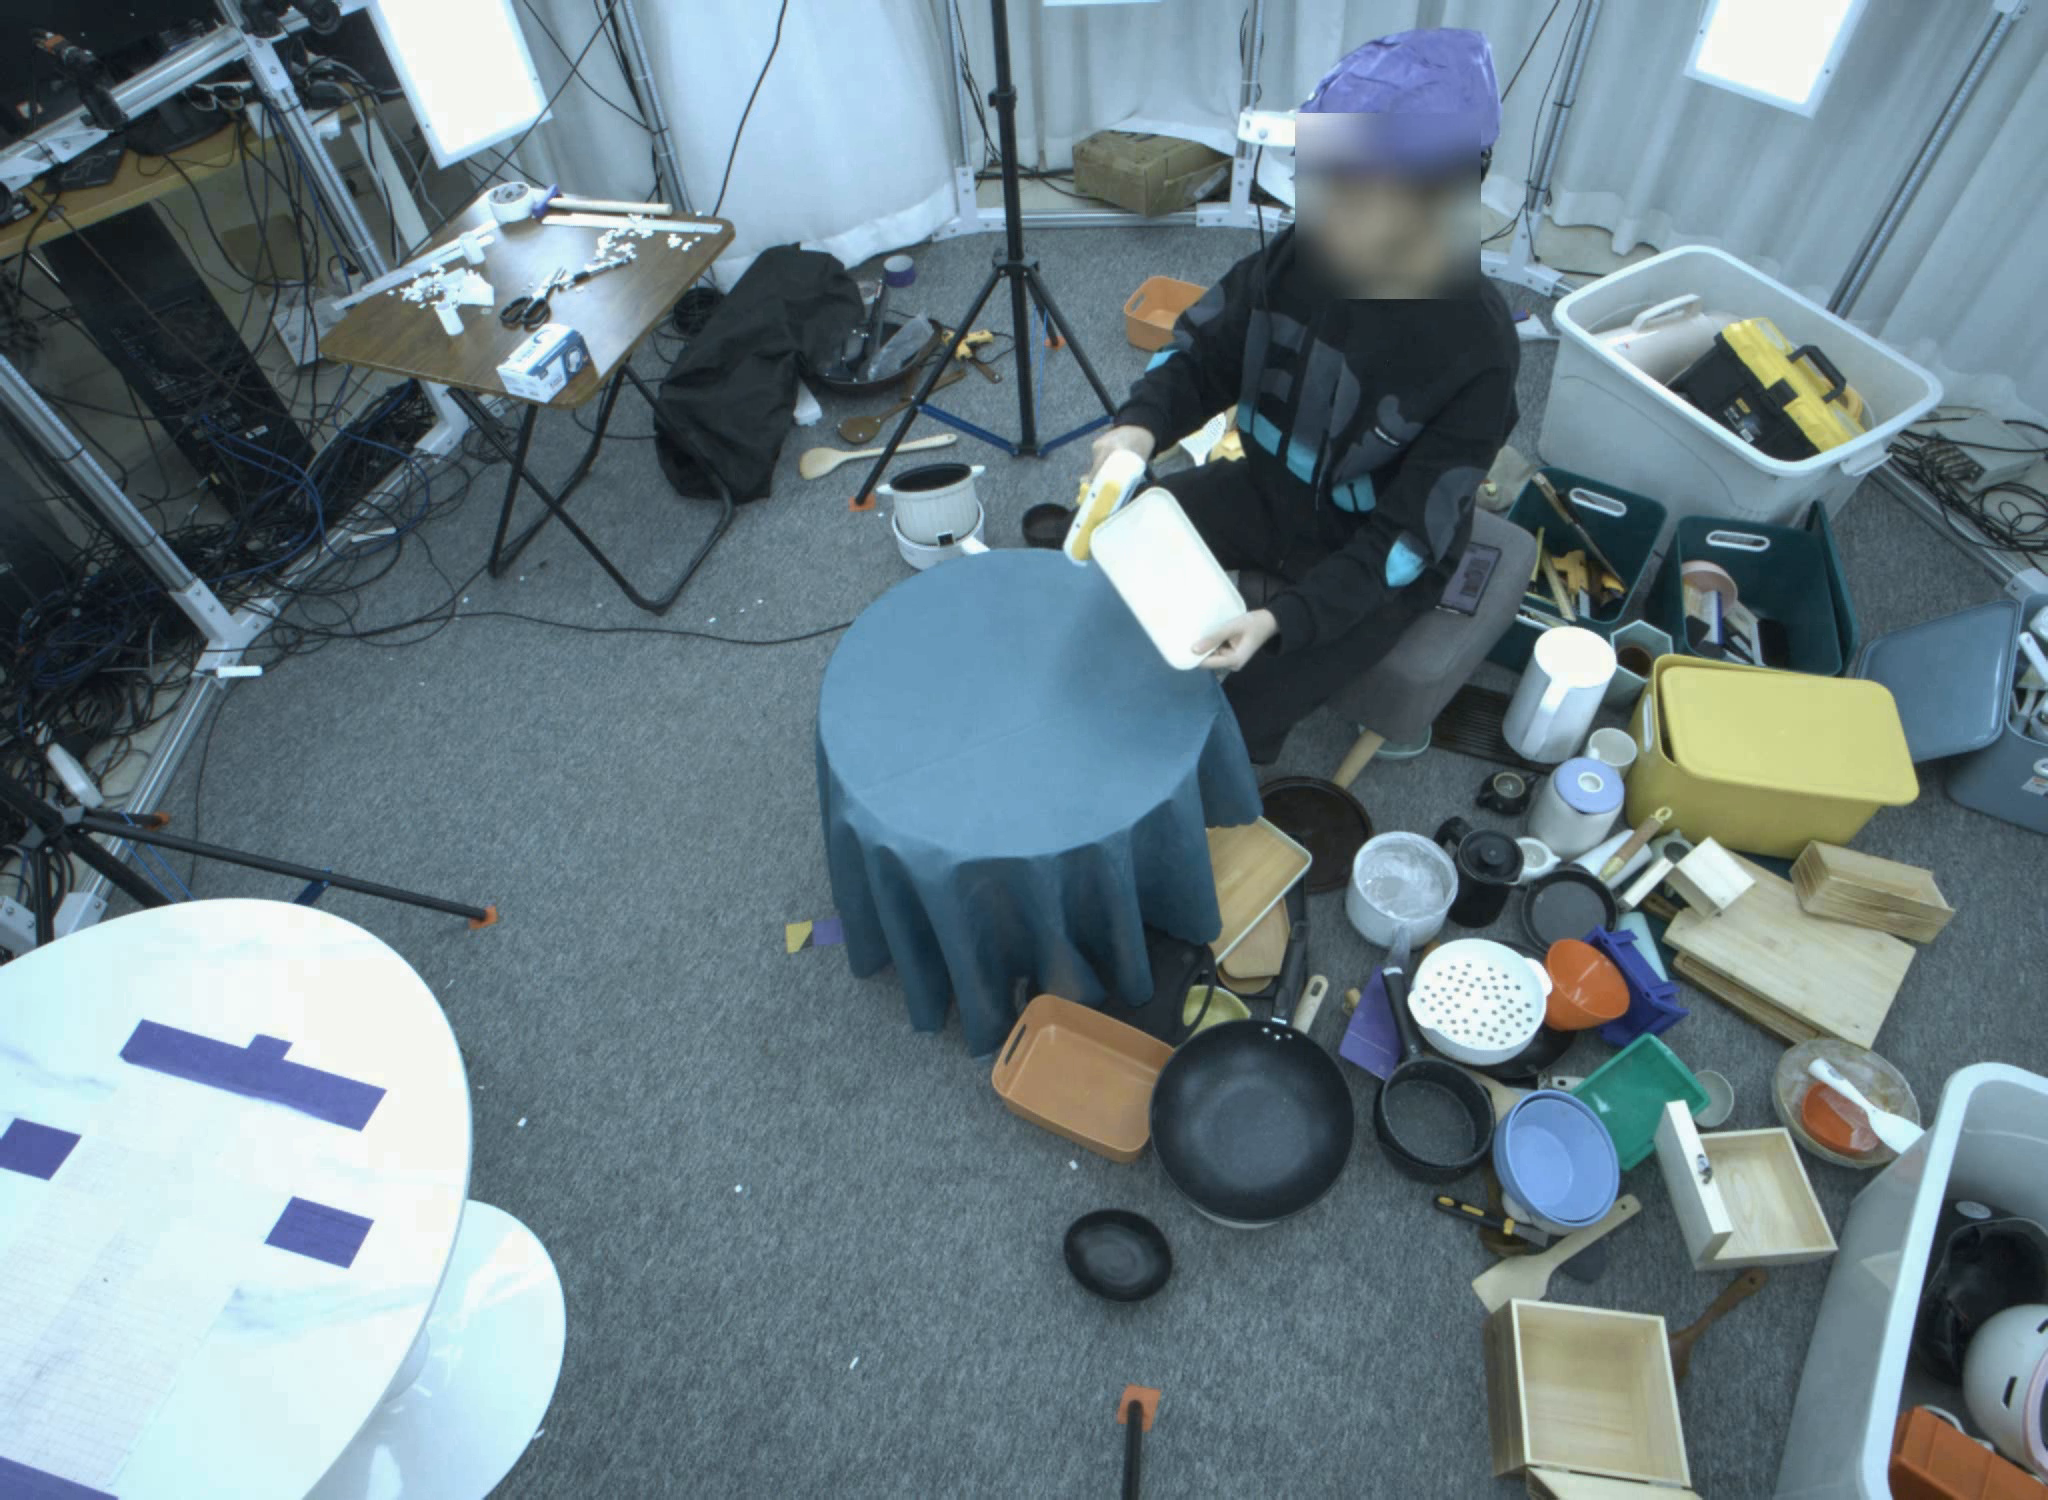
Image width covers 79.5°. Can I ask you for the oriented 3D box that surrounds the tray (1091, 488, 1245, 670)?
[{"bbox_3d":[0.203,-0.242,1.736,0.172,0.017,0.241,-41,102,-29],"label":"tray"}]

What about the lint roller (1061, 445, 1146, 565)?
[{"bbox_3d":[0.124,-0.382,1.775,0.074,0.193,0.192,27,42,4],"label":"lint roller"}]
